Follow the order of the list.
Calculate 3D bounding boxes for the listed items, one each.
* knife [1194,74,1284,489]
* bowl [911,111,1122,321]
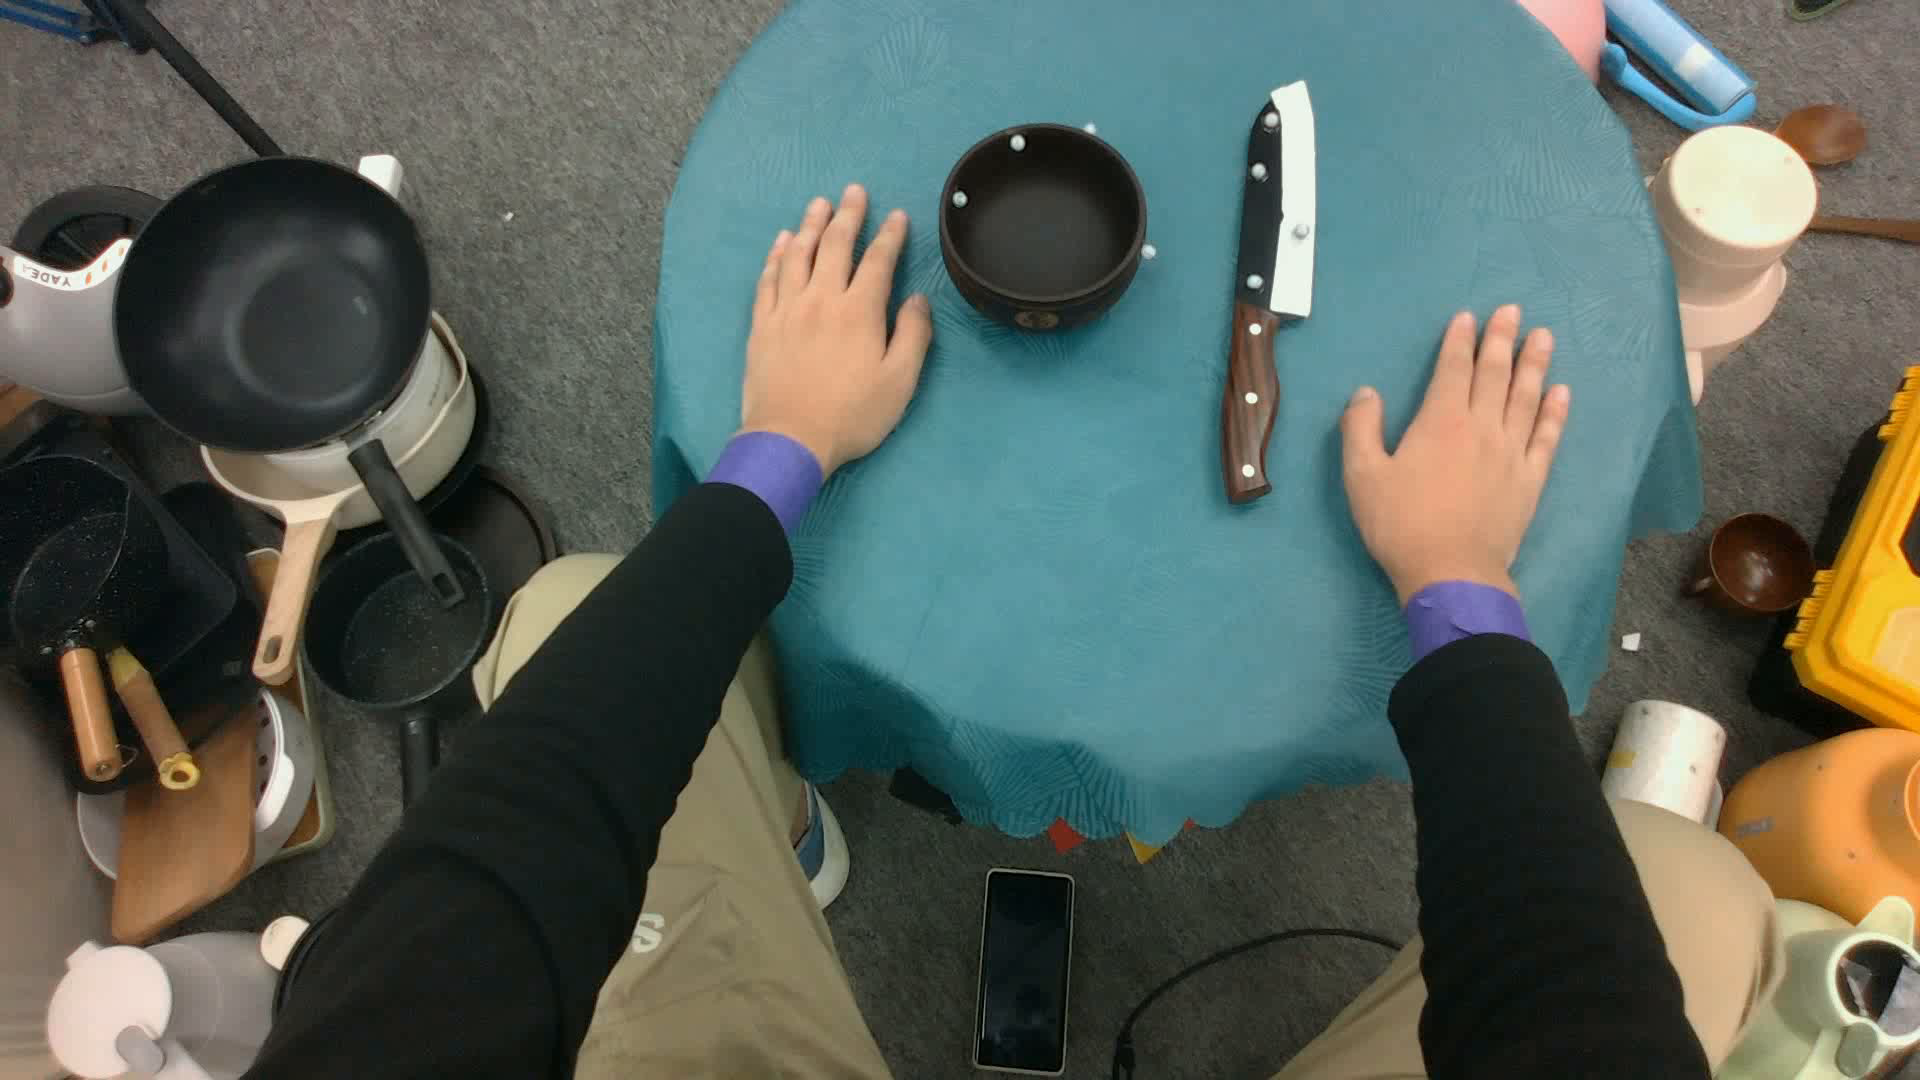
[{"bbox_3d":[0.166,-0.161,0.812,0.050,0.020,0.290,11,68,0],"label":"knife"},{"bbox_3d":[0.032,-0.178,0.790,0.118,0.069,0.118,0,71,1],"label":"bowl"}]
